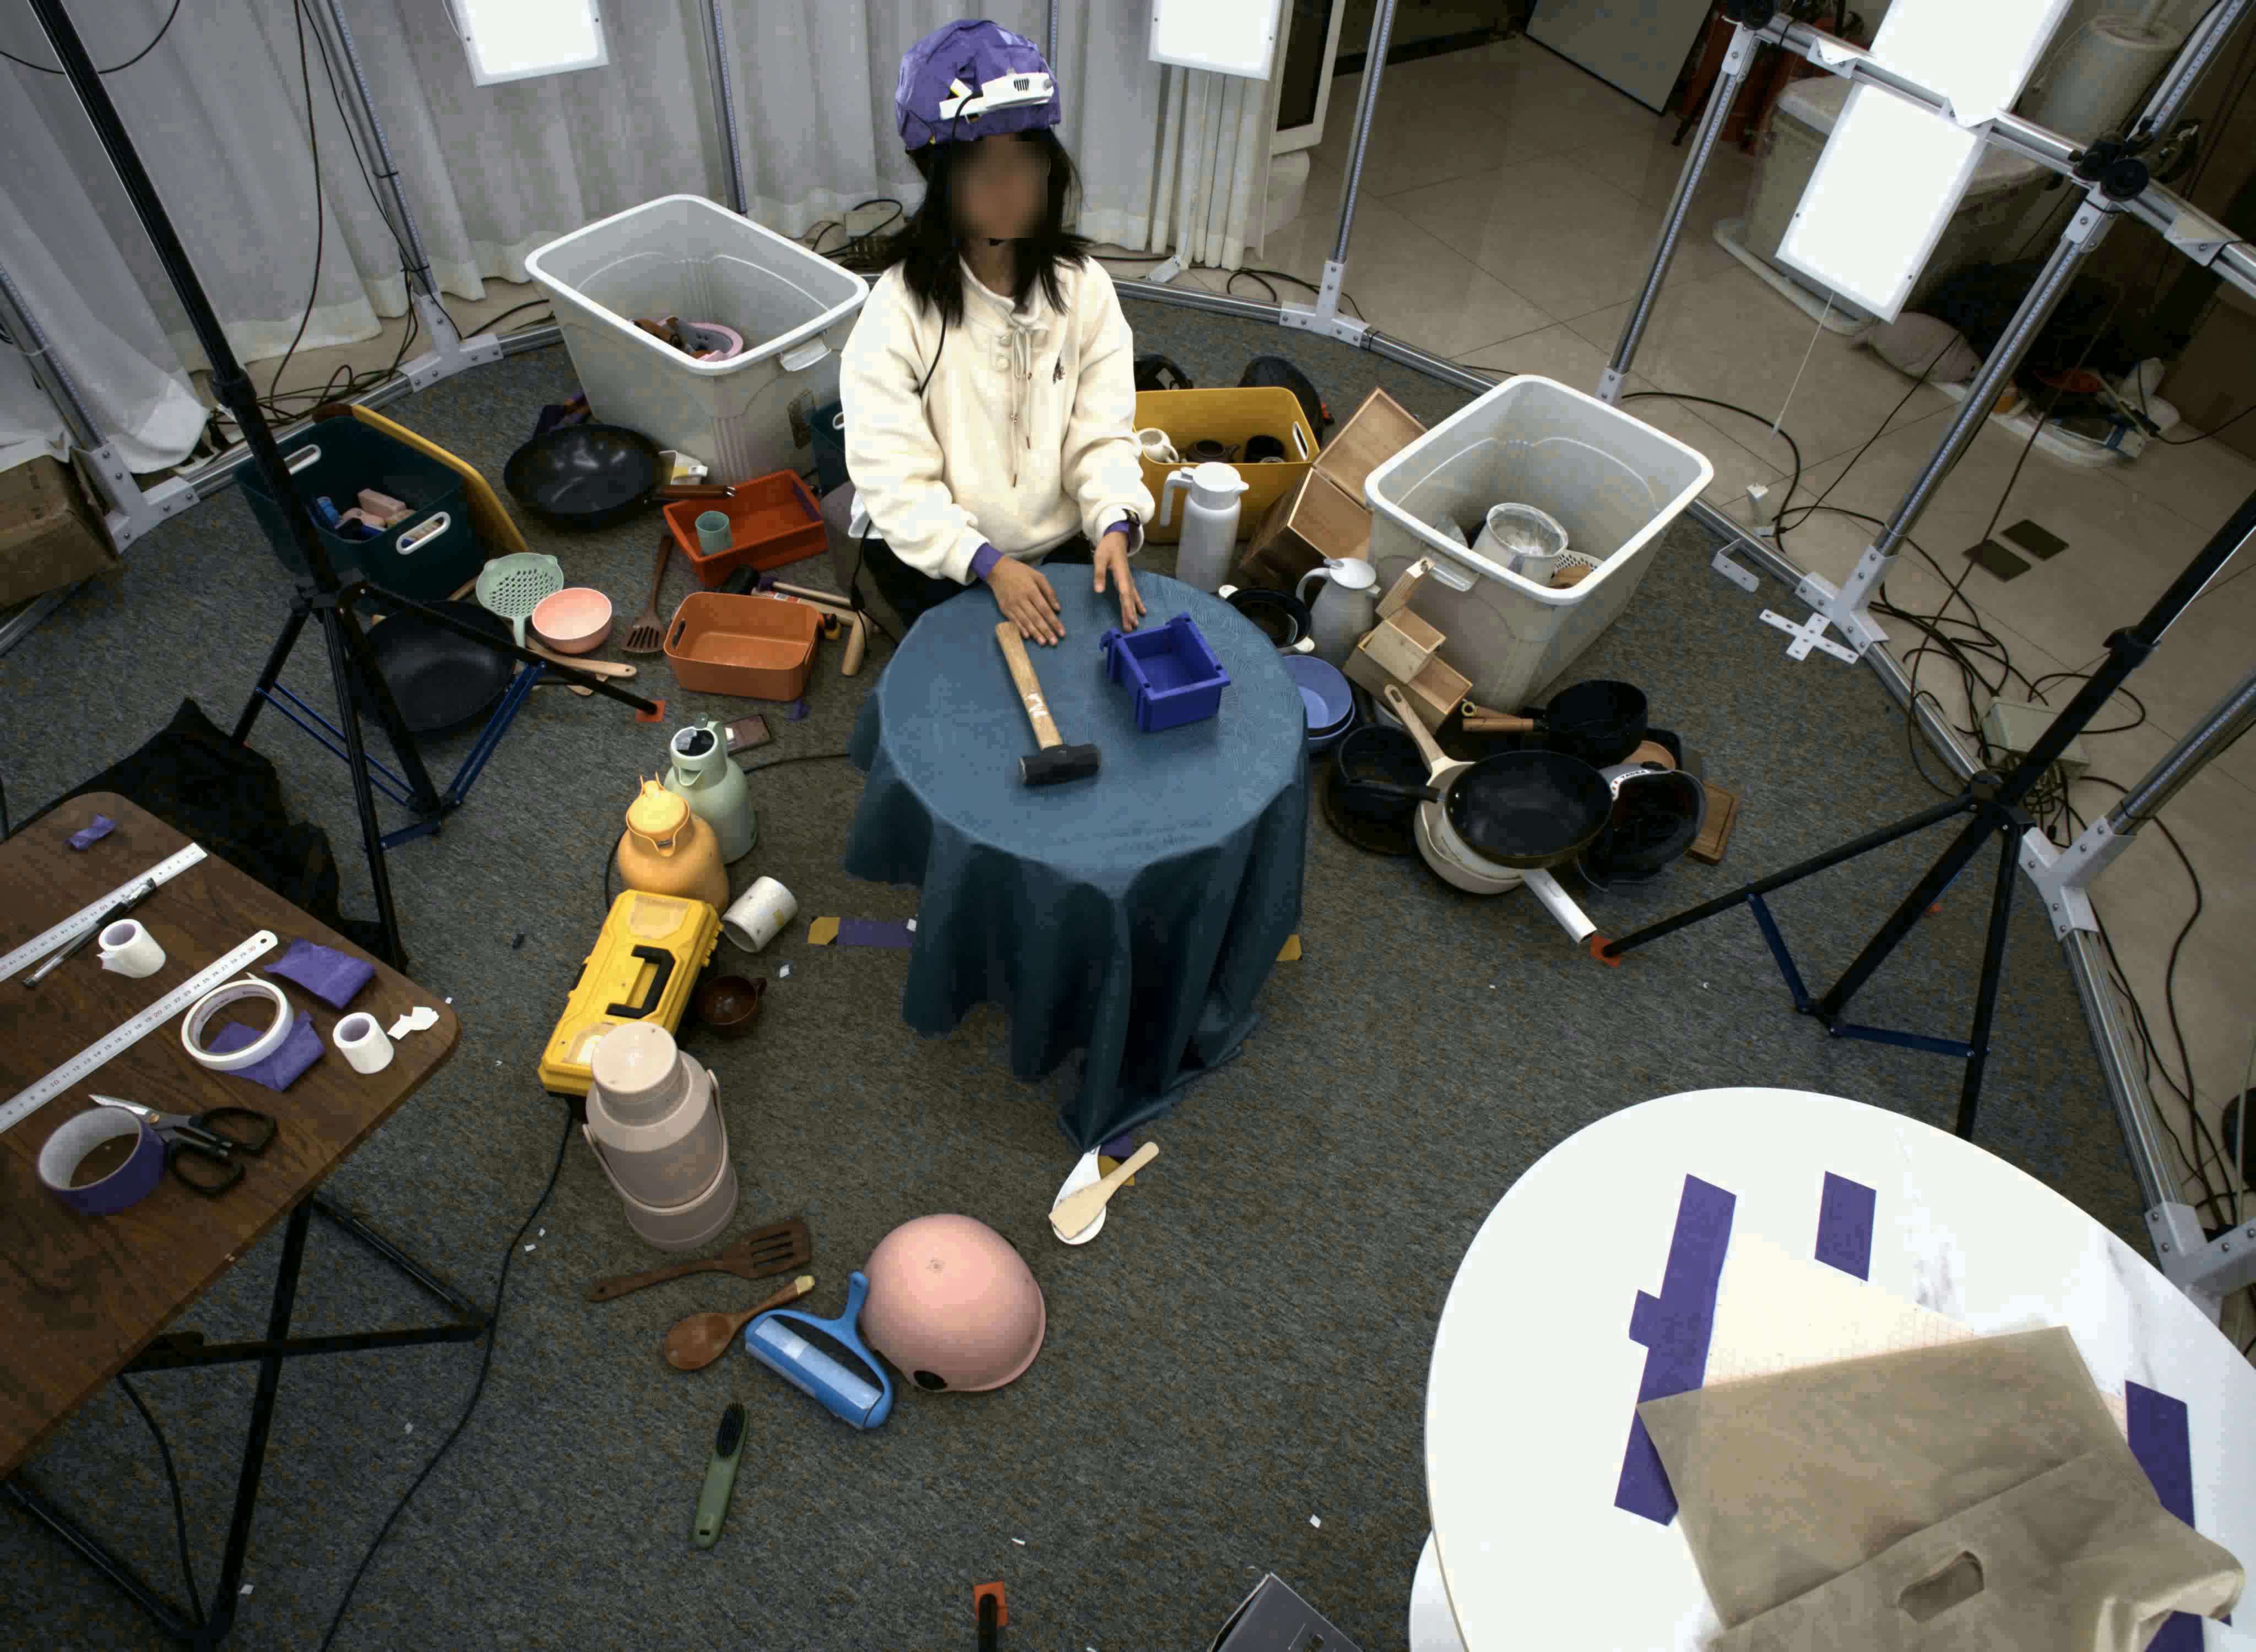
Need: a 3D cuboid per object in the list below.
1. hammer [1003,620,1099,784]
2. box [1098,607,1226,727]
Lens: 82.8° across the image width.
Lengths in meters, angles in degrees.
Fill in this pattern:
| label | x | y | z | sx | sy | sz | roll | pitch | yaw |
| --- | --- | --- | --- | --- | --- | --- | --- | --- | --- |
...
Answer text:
| label | x | y | z | sx | sy | sz | roll | pitch | yaw |
| --- | --- | --- | --- | --- | --- | --- | --- | --- | --- |
| hammer | -0.129 | -0.182 | 1.798 | 0.107 | 0.037 | 0.313 | -10 | 49 | -12 |
| box | 0.043 | -0.231 | 1.821 | 0.124 | 0.080 | 0.183 | -15 | 54 | -16 |
